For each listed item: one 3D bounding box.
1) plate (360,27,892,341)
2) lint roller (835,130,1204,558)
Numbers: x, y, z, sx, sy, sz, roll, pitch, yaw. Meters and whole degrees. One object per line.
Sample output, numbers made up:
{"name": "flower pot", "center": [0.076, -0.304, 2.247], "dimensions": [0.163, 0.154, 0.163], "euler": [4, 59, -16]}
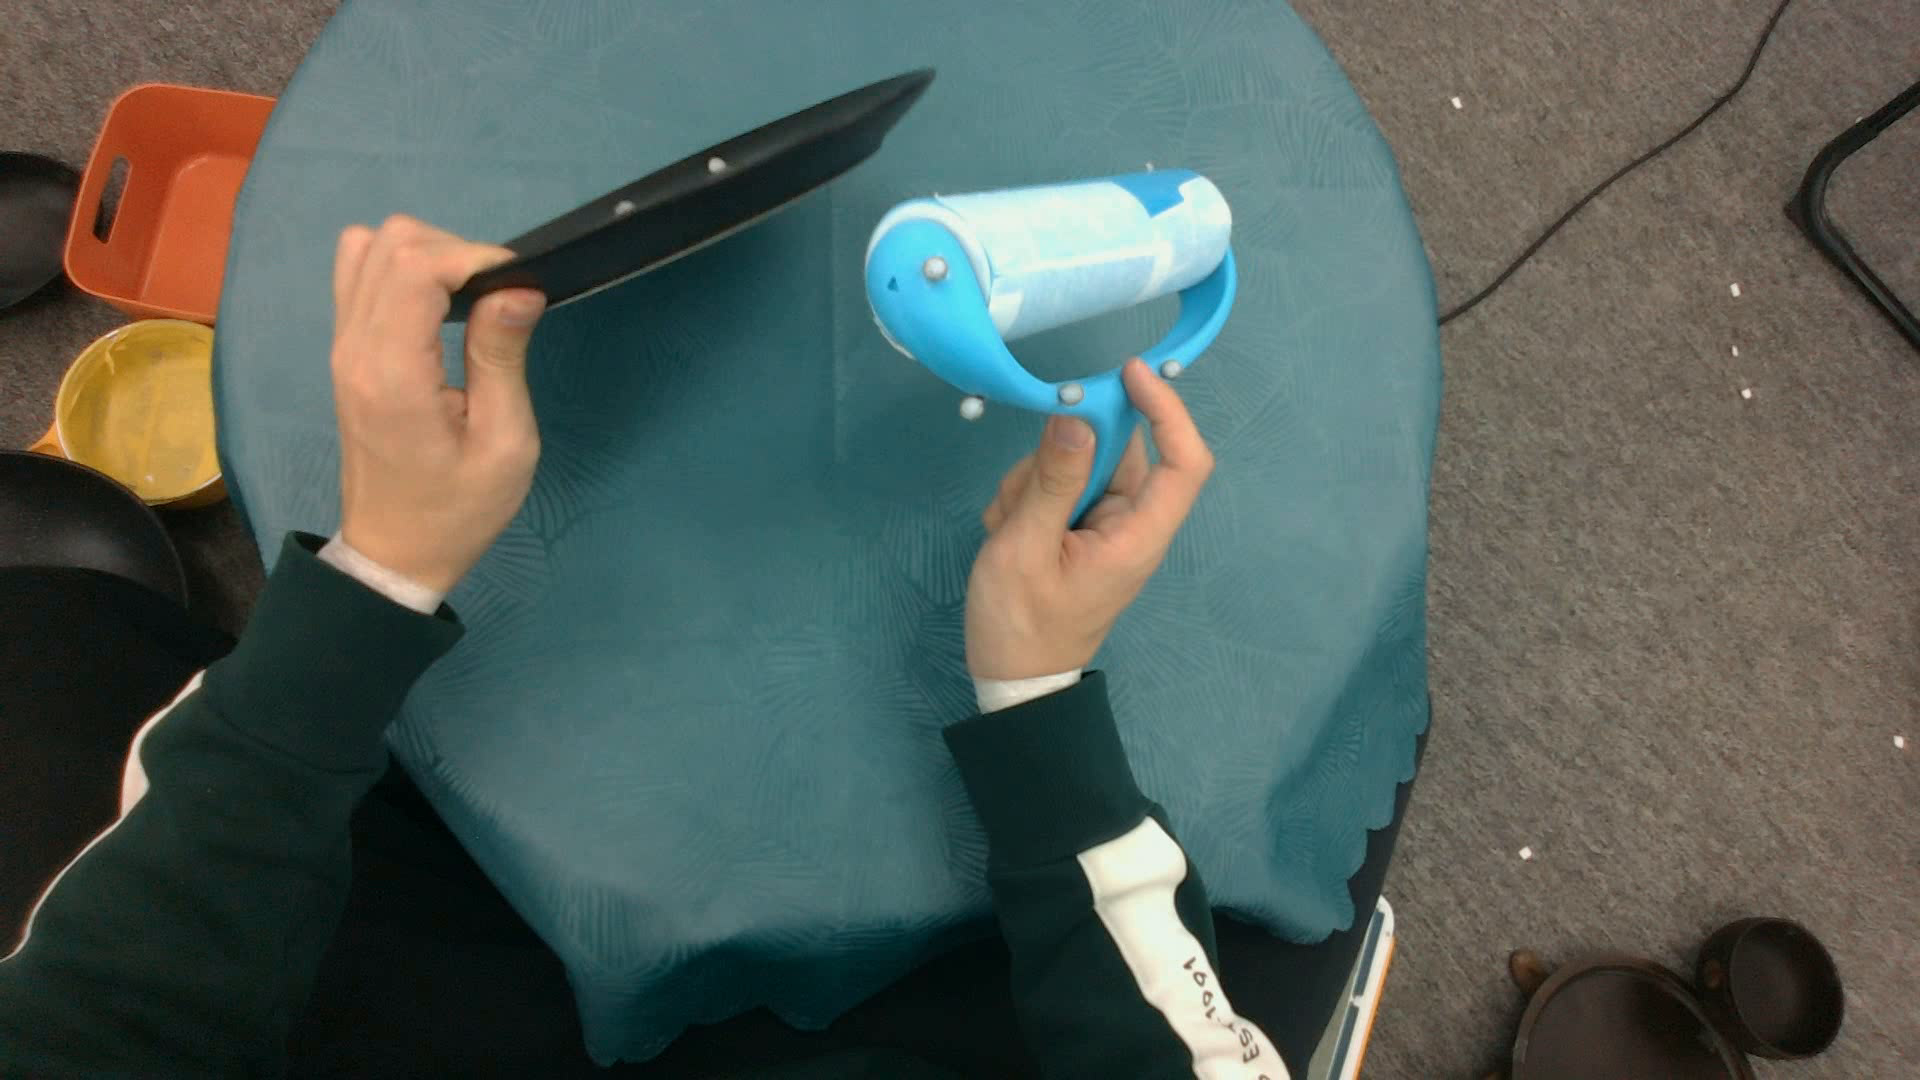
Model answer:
{"name": "plate", "center": [-0.130, -0.138, 0.563], "dimensions": [0.245, 0.244, 0.023], "euler": [-35, 109, -15]}
{"name": "lint roller", "center": [0.029, -0.071, 0.557], "dimensions": [0.068, 0.179, 0.230], "euler": [15, 27, 28]}
